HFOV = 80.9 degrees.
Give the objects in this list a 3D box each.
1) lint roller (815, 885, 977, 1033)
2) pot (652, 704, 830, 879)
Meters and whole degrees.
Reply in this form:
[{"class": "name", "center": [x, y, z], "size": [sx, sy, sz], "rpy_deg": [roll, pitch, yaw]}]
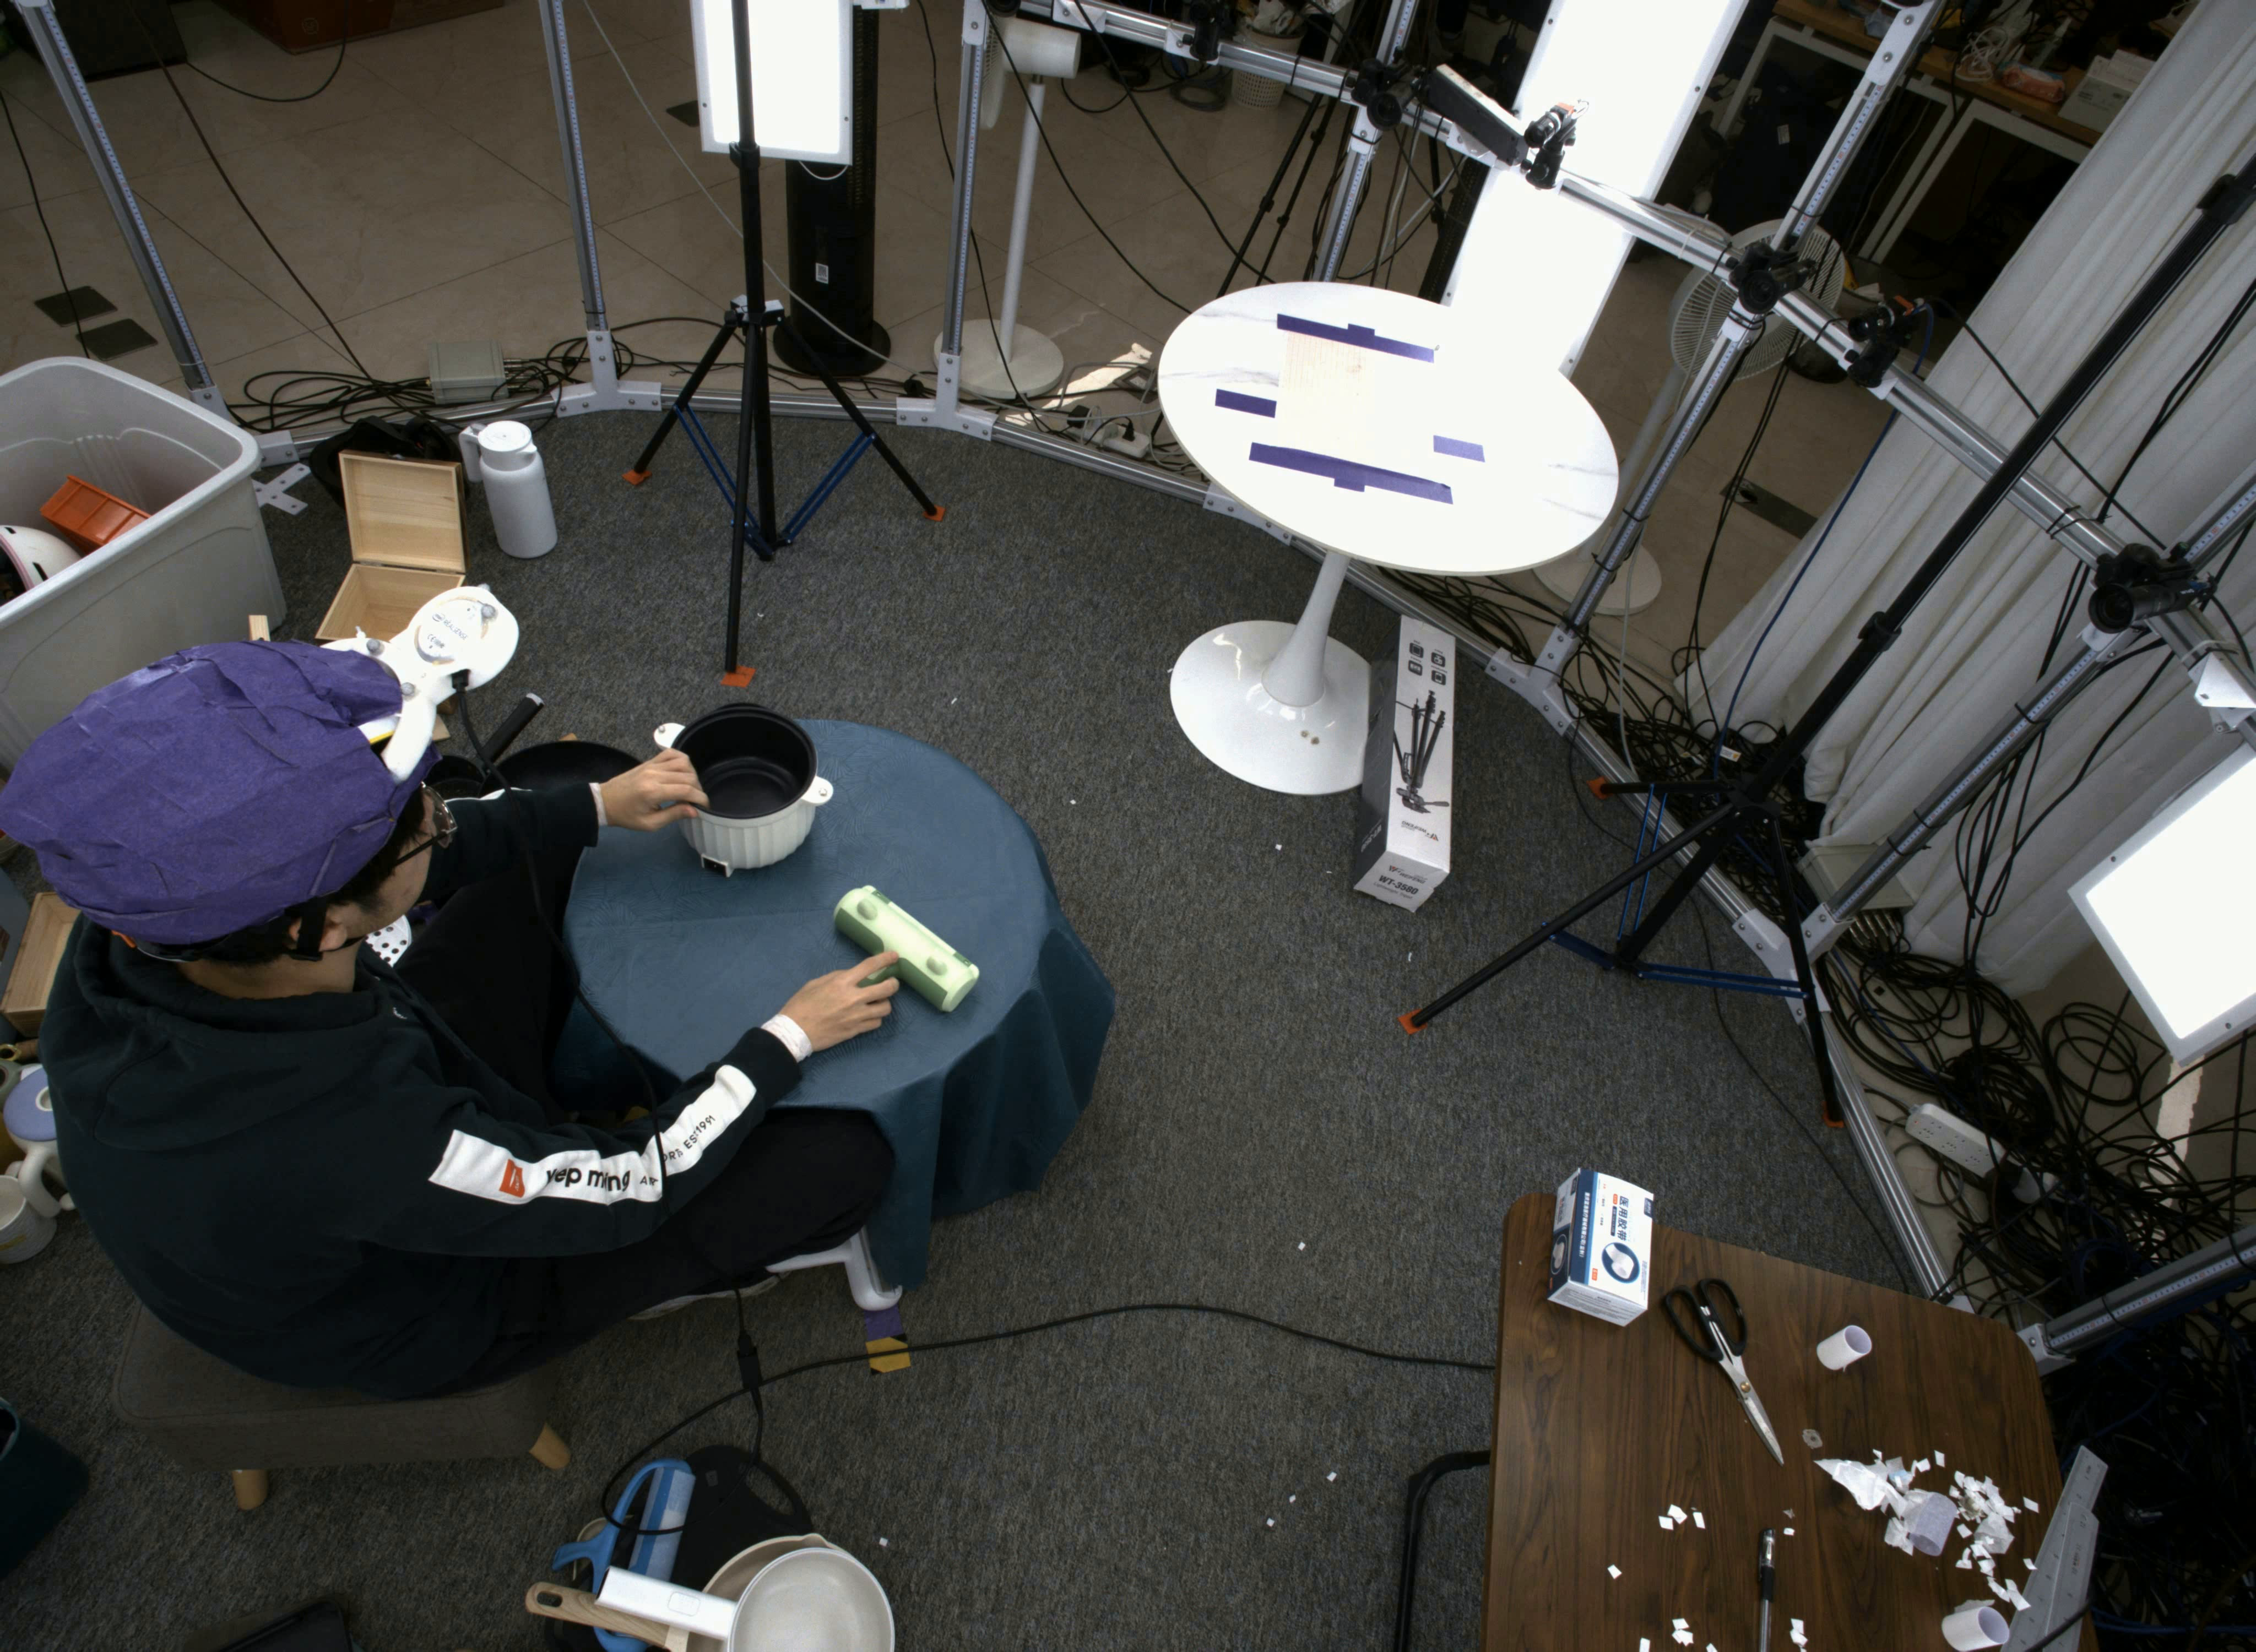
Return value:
[{"class": "lint roller", "center": [-0.311, 0.173, 1.583], "size": [0.195, 0.084, 0.183], "rpy_deg": [36, 48, 13]}, {"class": "pot", "center": [-0.492, -0.047, 1.658], "size": [0.238, 0.145, 0.189], "rpy_deg": [21, 55, 0]}]
